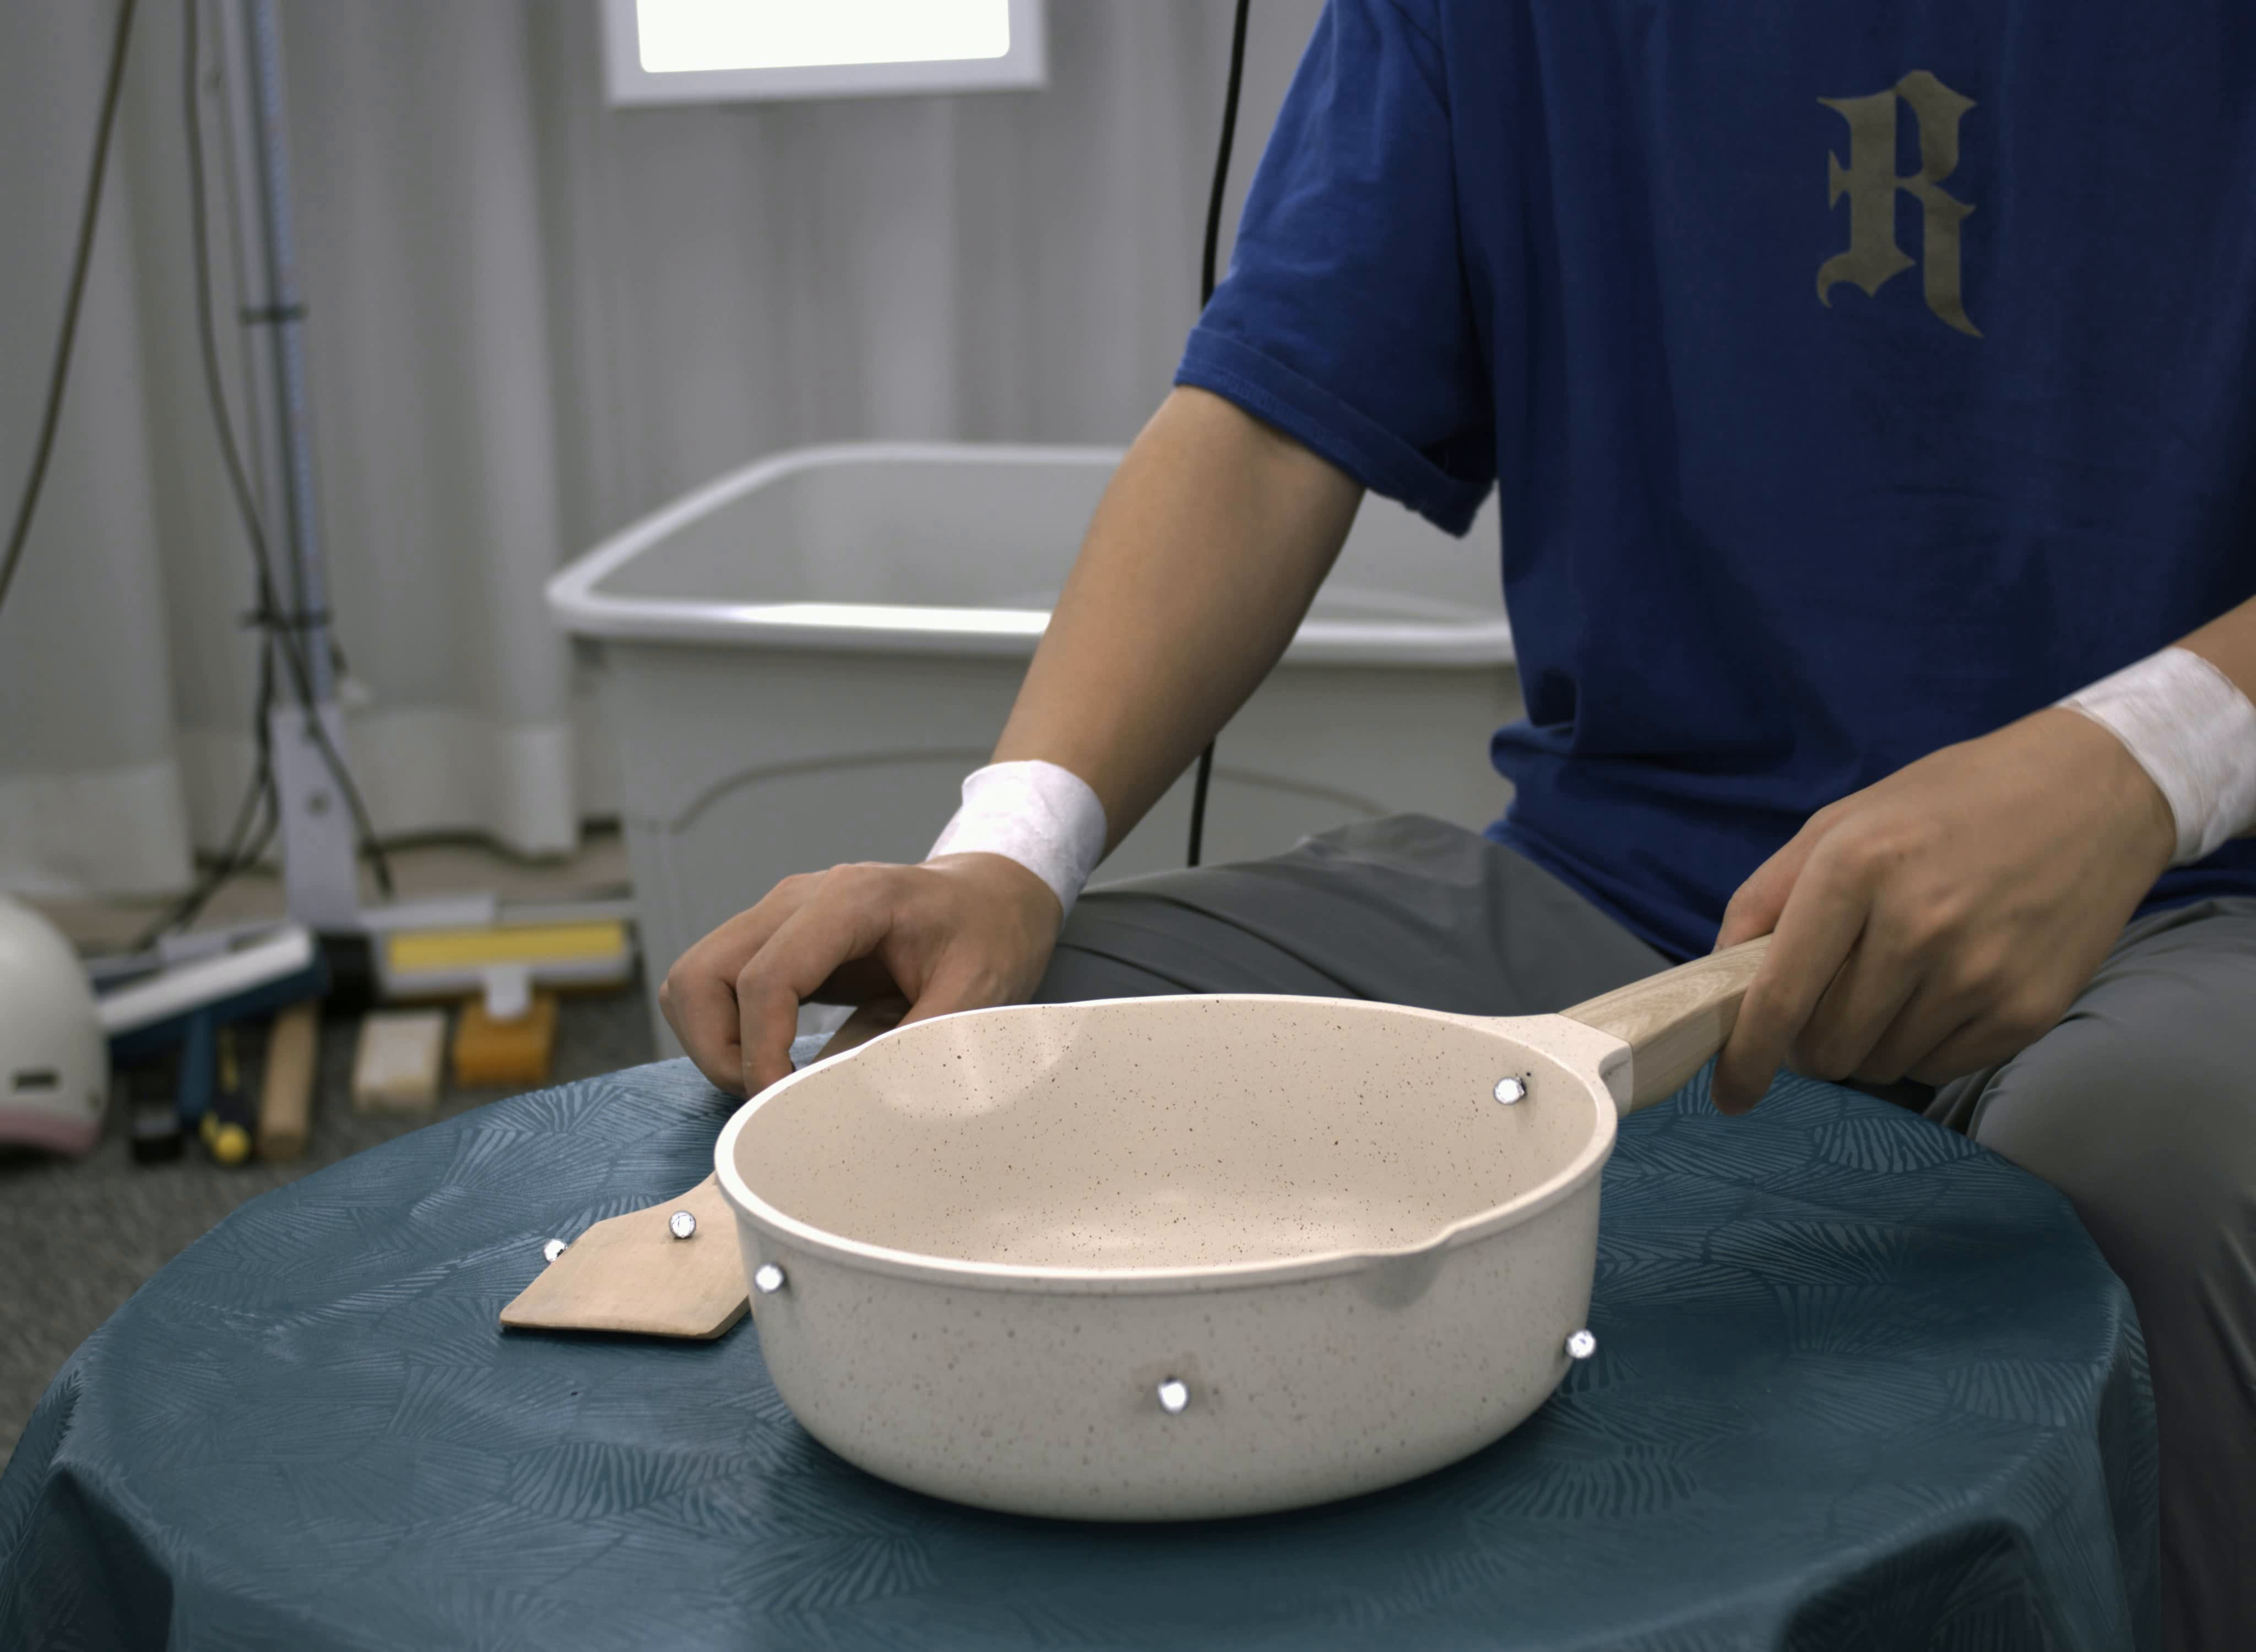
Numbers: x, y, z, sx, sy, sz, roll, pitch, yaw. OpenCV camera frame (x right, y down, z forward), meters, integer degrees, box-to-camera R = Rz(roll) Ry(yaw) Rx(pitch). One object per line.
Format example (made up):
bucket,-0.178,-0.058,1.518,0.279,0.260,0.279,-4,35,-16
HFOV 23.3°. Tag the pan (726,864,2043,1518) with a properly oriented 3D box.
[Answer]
pan,0.094,0.098,1.561,0.433,0.101,0.265,-11,15,-29

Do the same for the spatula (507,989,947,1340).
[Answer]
spatula,-0.113,0.104,1.736,0.072,0.010,0.294,1,19,16
